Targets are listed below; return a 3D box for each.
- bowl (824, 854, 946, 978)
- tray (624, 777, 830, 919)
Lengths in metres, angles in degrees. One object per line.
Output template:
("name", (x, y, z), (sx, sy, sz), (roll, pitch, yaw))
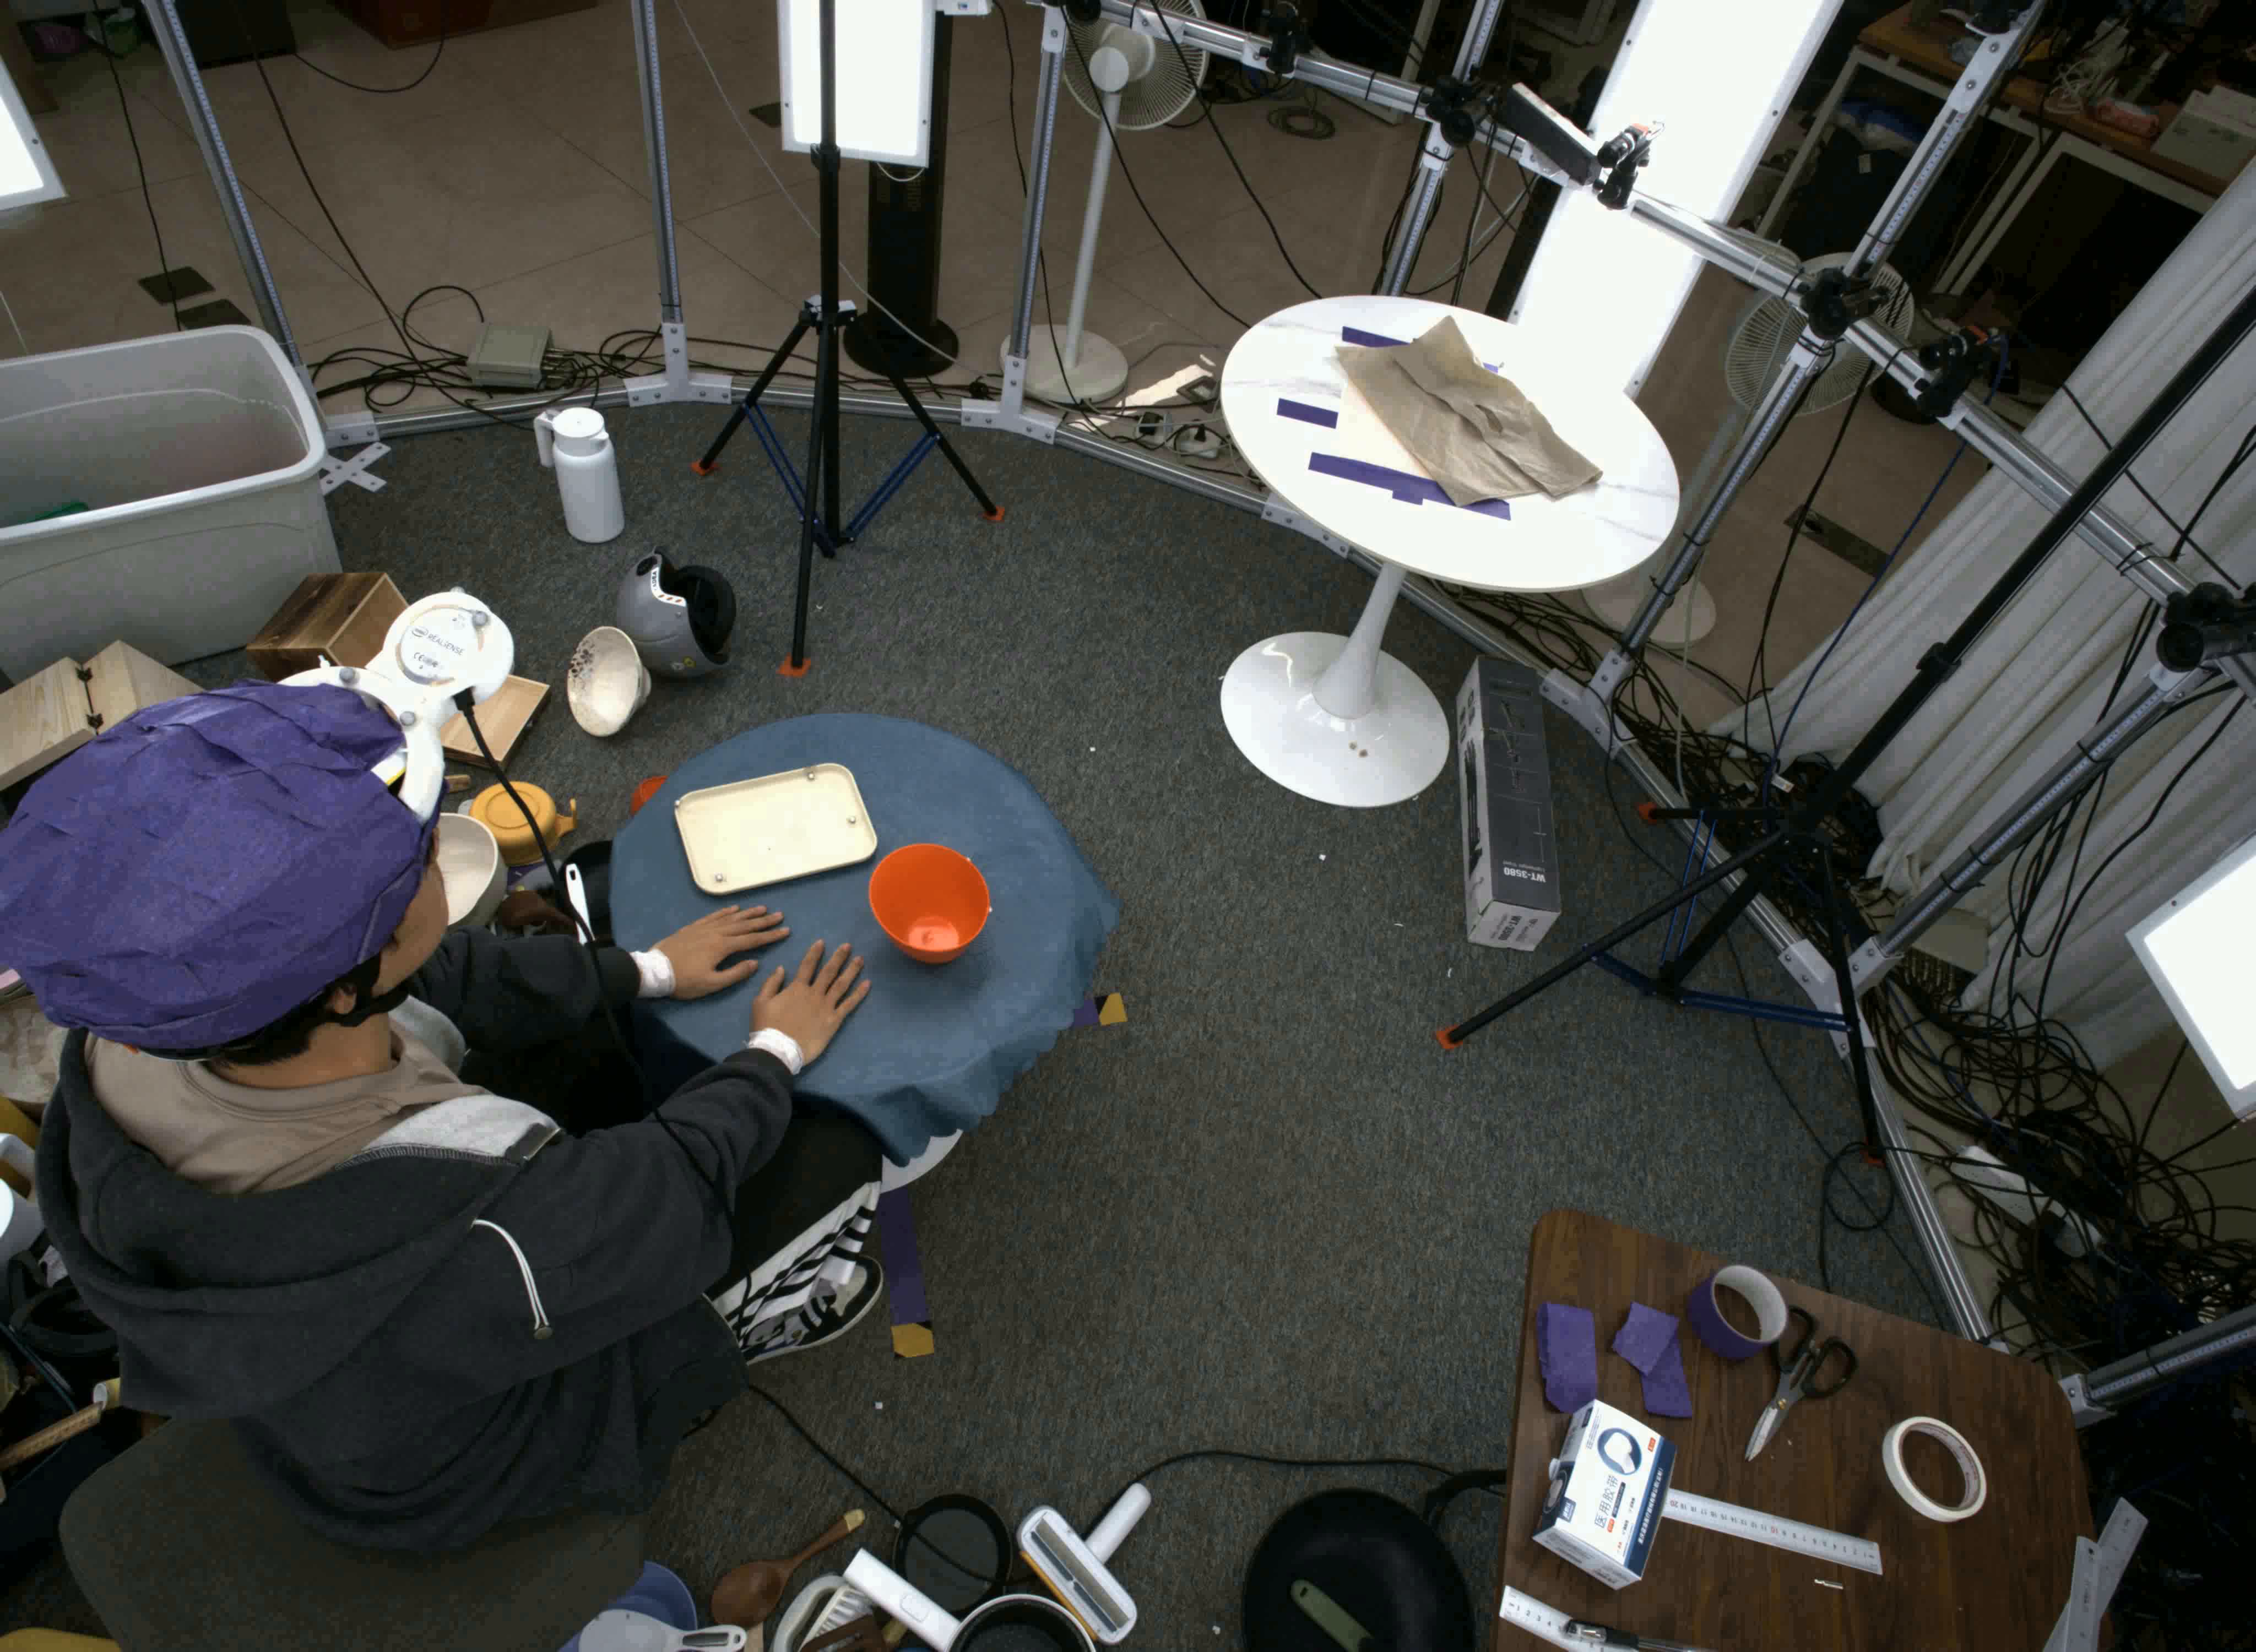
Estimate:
("bowl", (-0.299, 0.122, 1.605), (0.147, 0.107, 0.145), (8, 50, -8))
("tray", (-0.520, 0.025, 1.674), (0.241, 0.018, 0.167), (-17, 61, -25))
